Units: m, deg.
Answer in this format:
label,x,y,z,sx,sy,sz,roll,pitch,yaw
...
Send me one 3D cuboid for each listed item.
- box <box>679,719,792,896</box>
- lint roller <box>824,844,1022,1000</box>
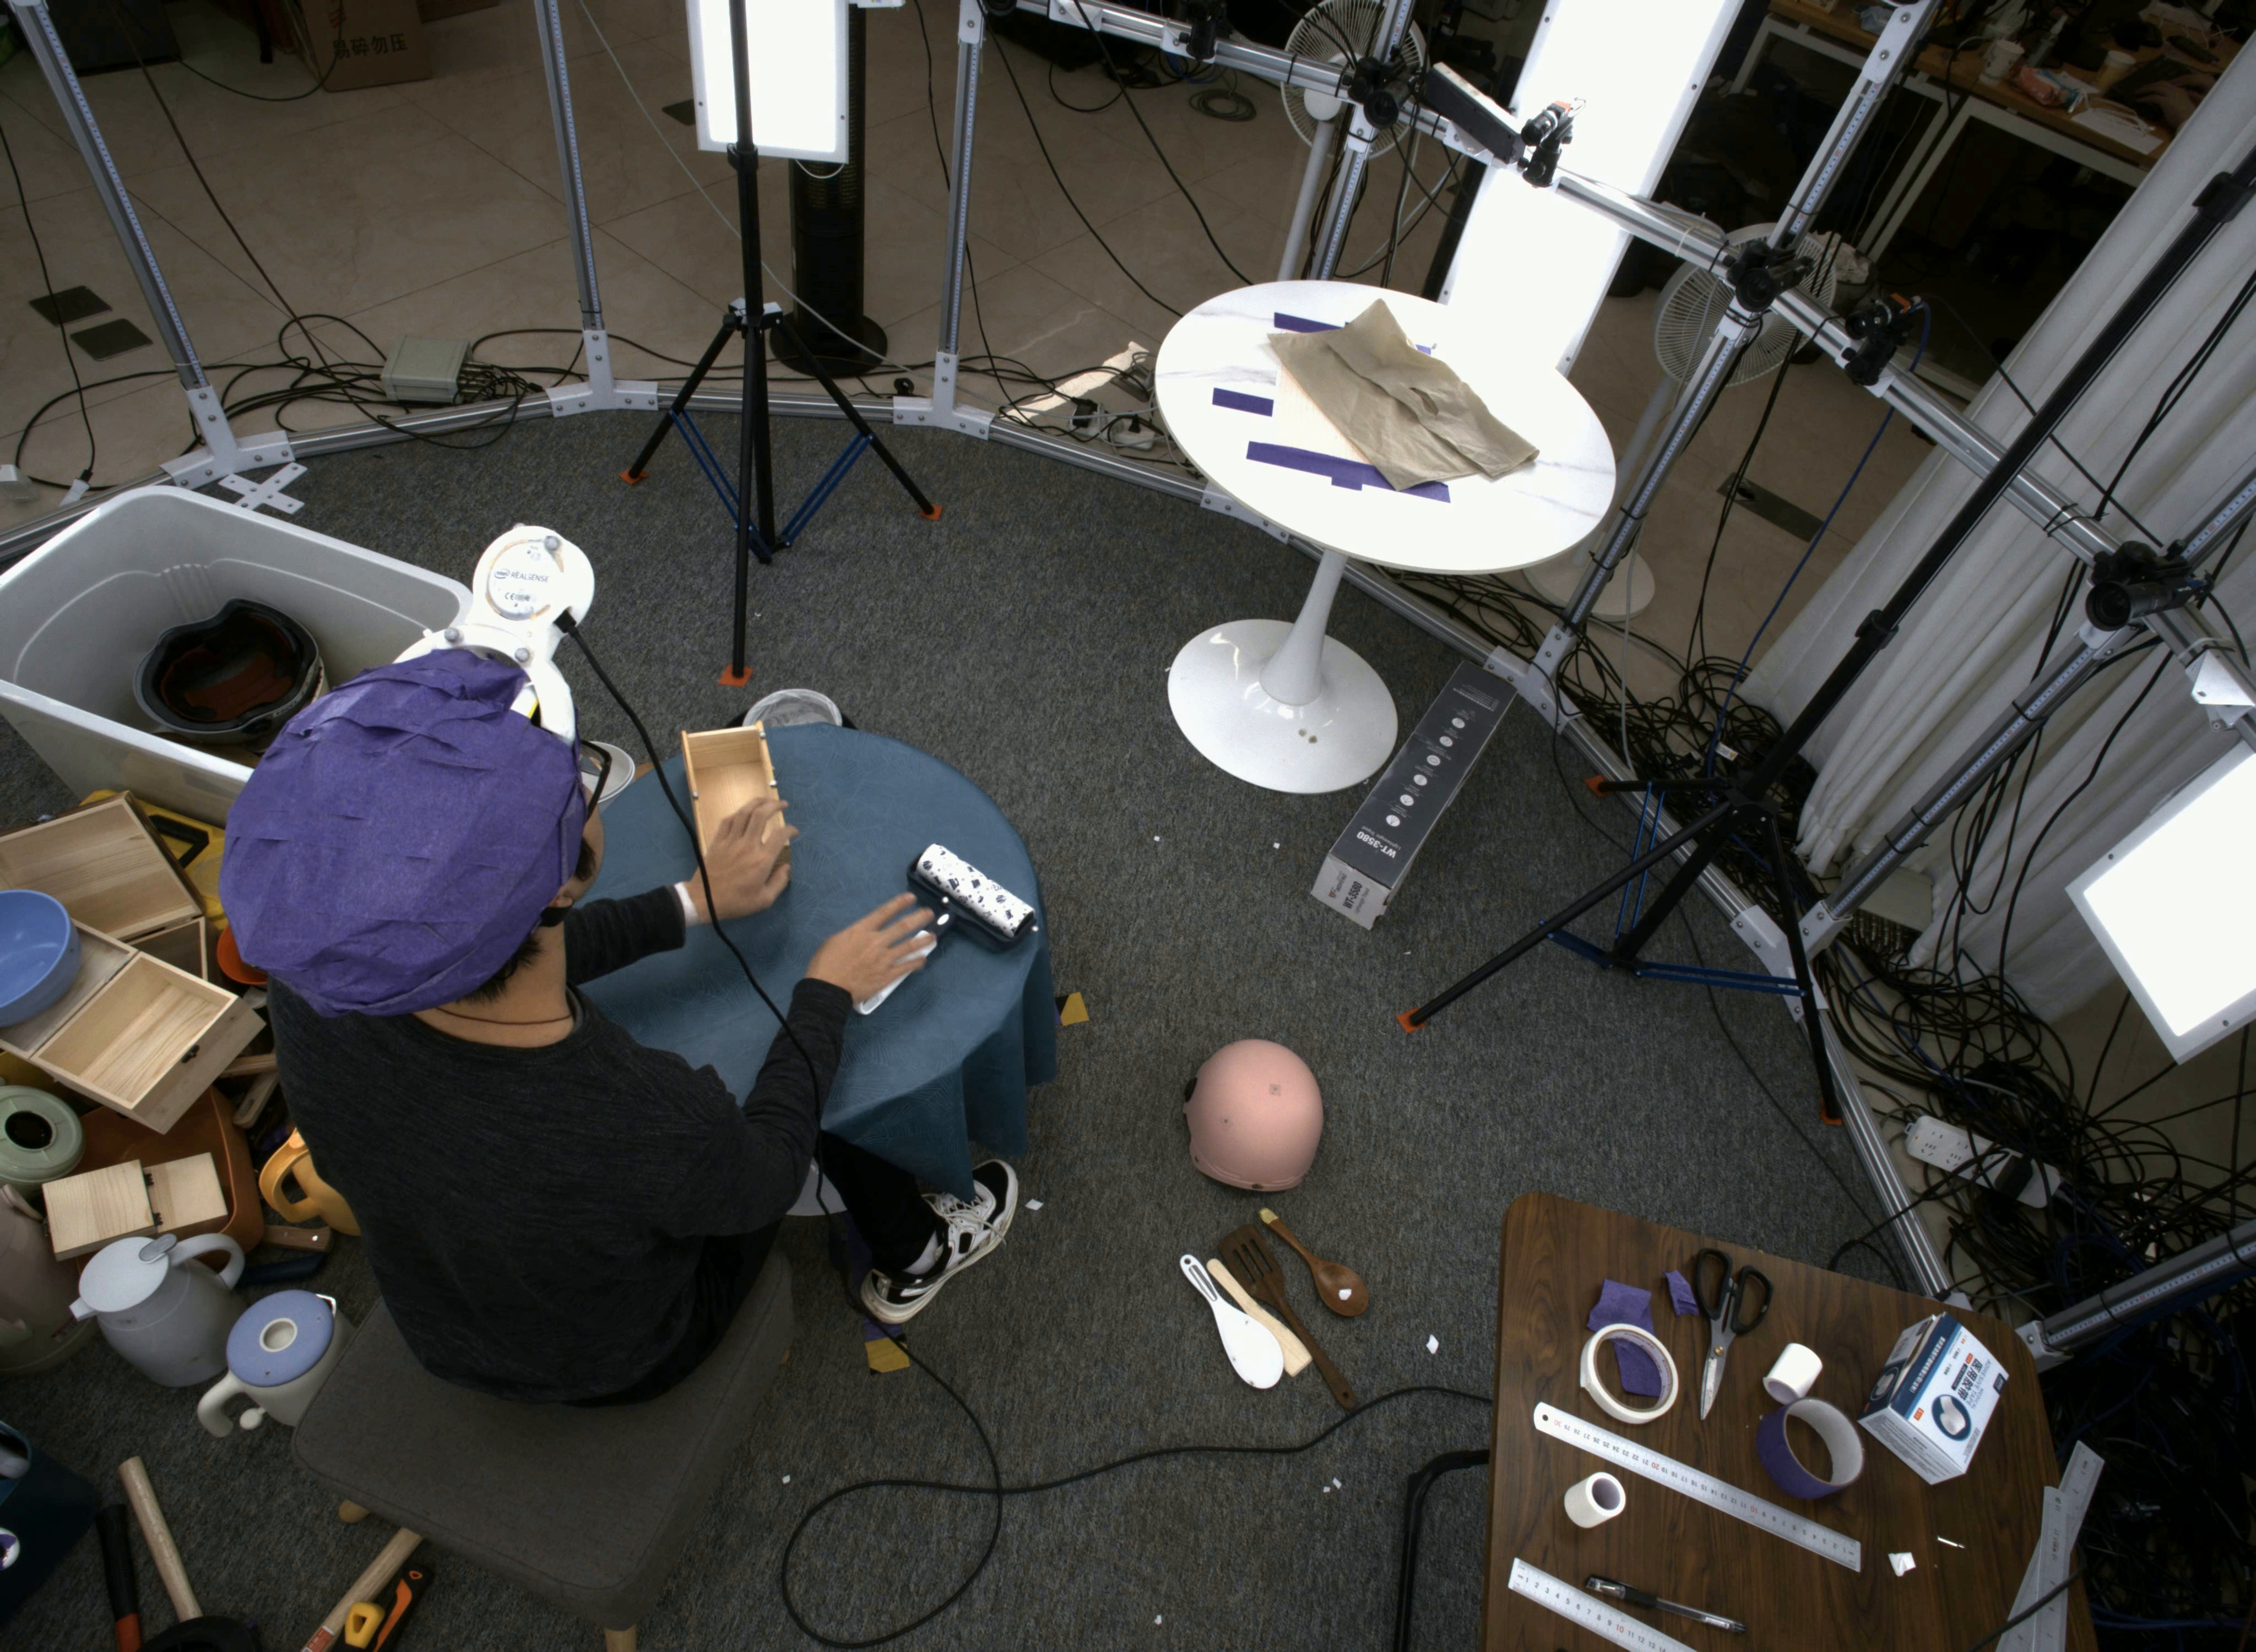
label,x,y,z,sx,sy,sz,roll,pitch,yaw
box,-0.507,-0.028,1.666,0.108,0.082,0.206,-11,57,-20
lint roller,-0.274,0.136,1.619,0.172,0.051,0.248,42,54,20
